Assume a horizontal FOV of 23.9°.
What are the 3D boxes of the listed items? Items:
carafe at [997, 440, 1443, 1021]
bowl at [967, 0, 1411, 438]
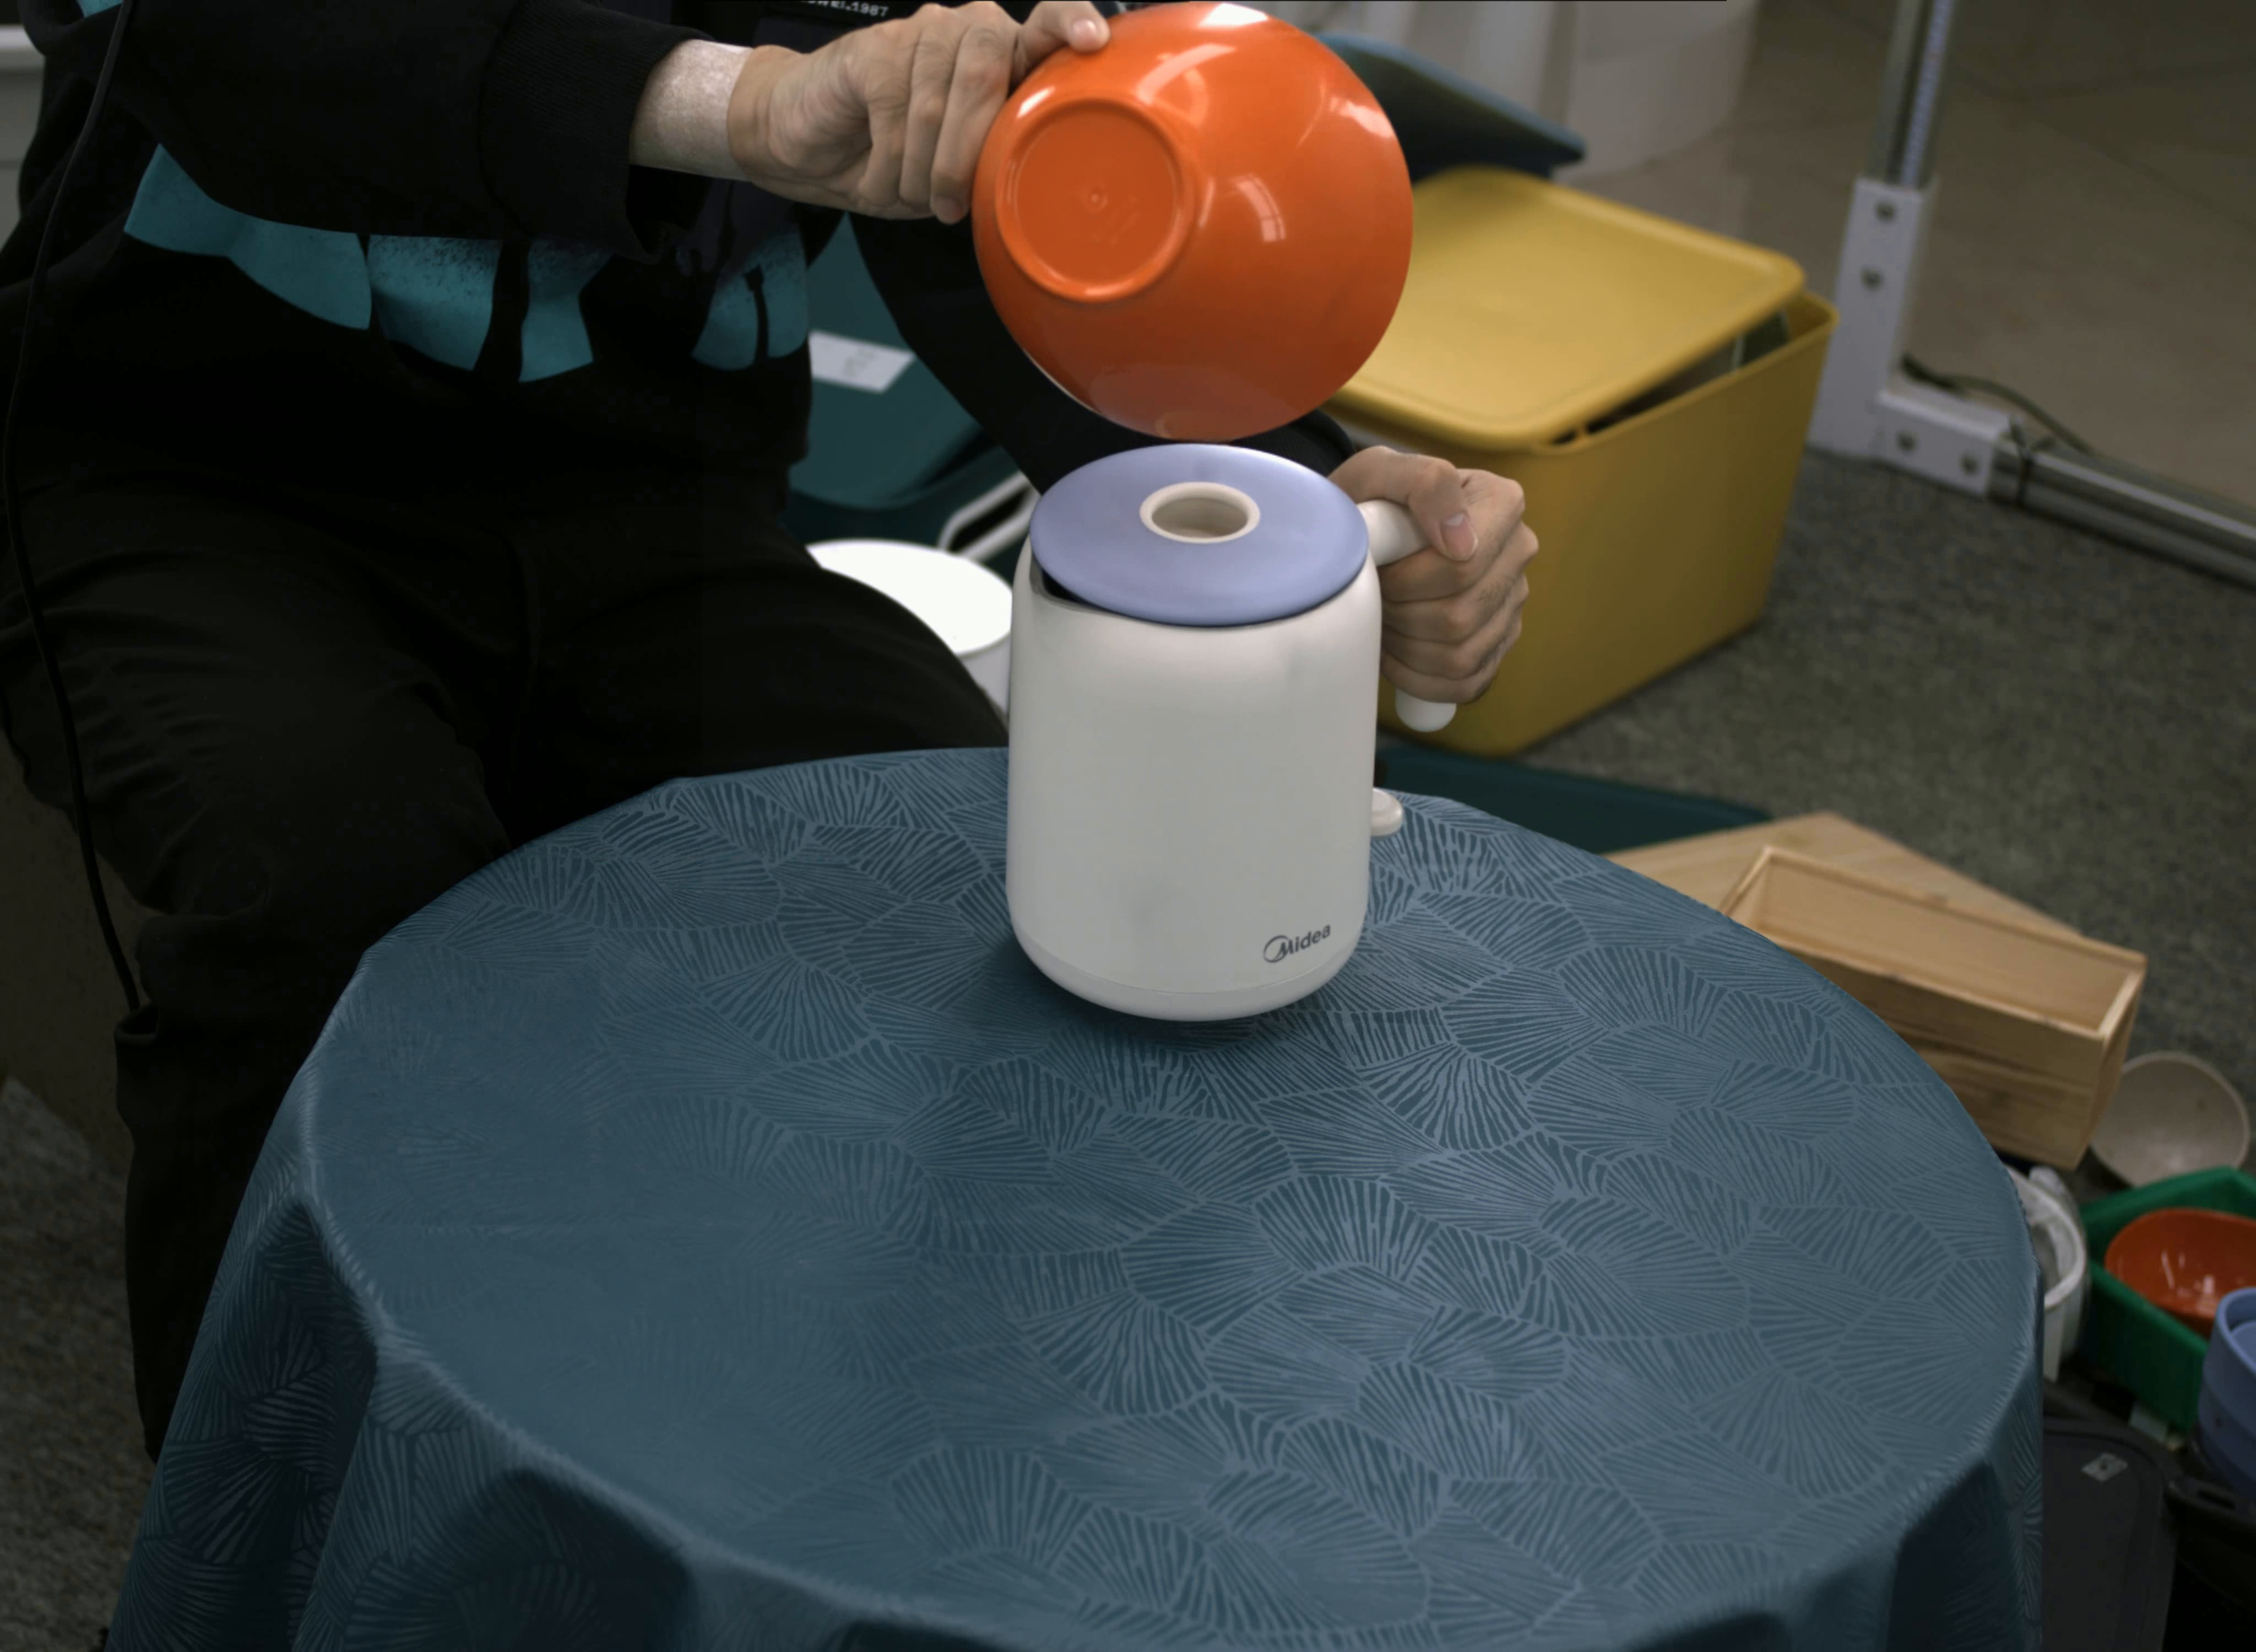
[{"bbox_3d":[0.040,-0.041,1.903,0.190,0.182,0.133,-19,39,-33],"label":"carafe"},{"bbox_3d":[0.010,-0.200,1.746,0.148,0.148,0.104,15,9,16],"label":"bowl"}]
